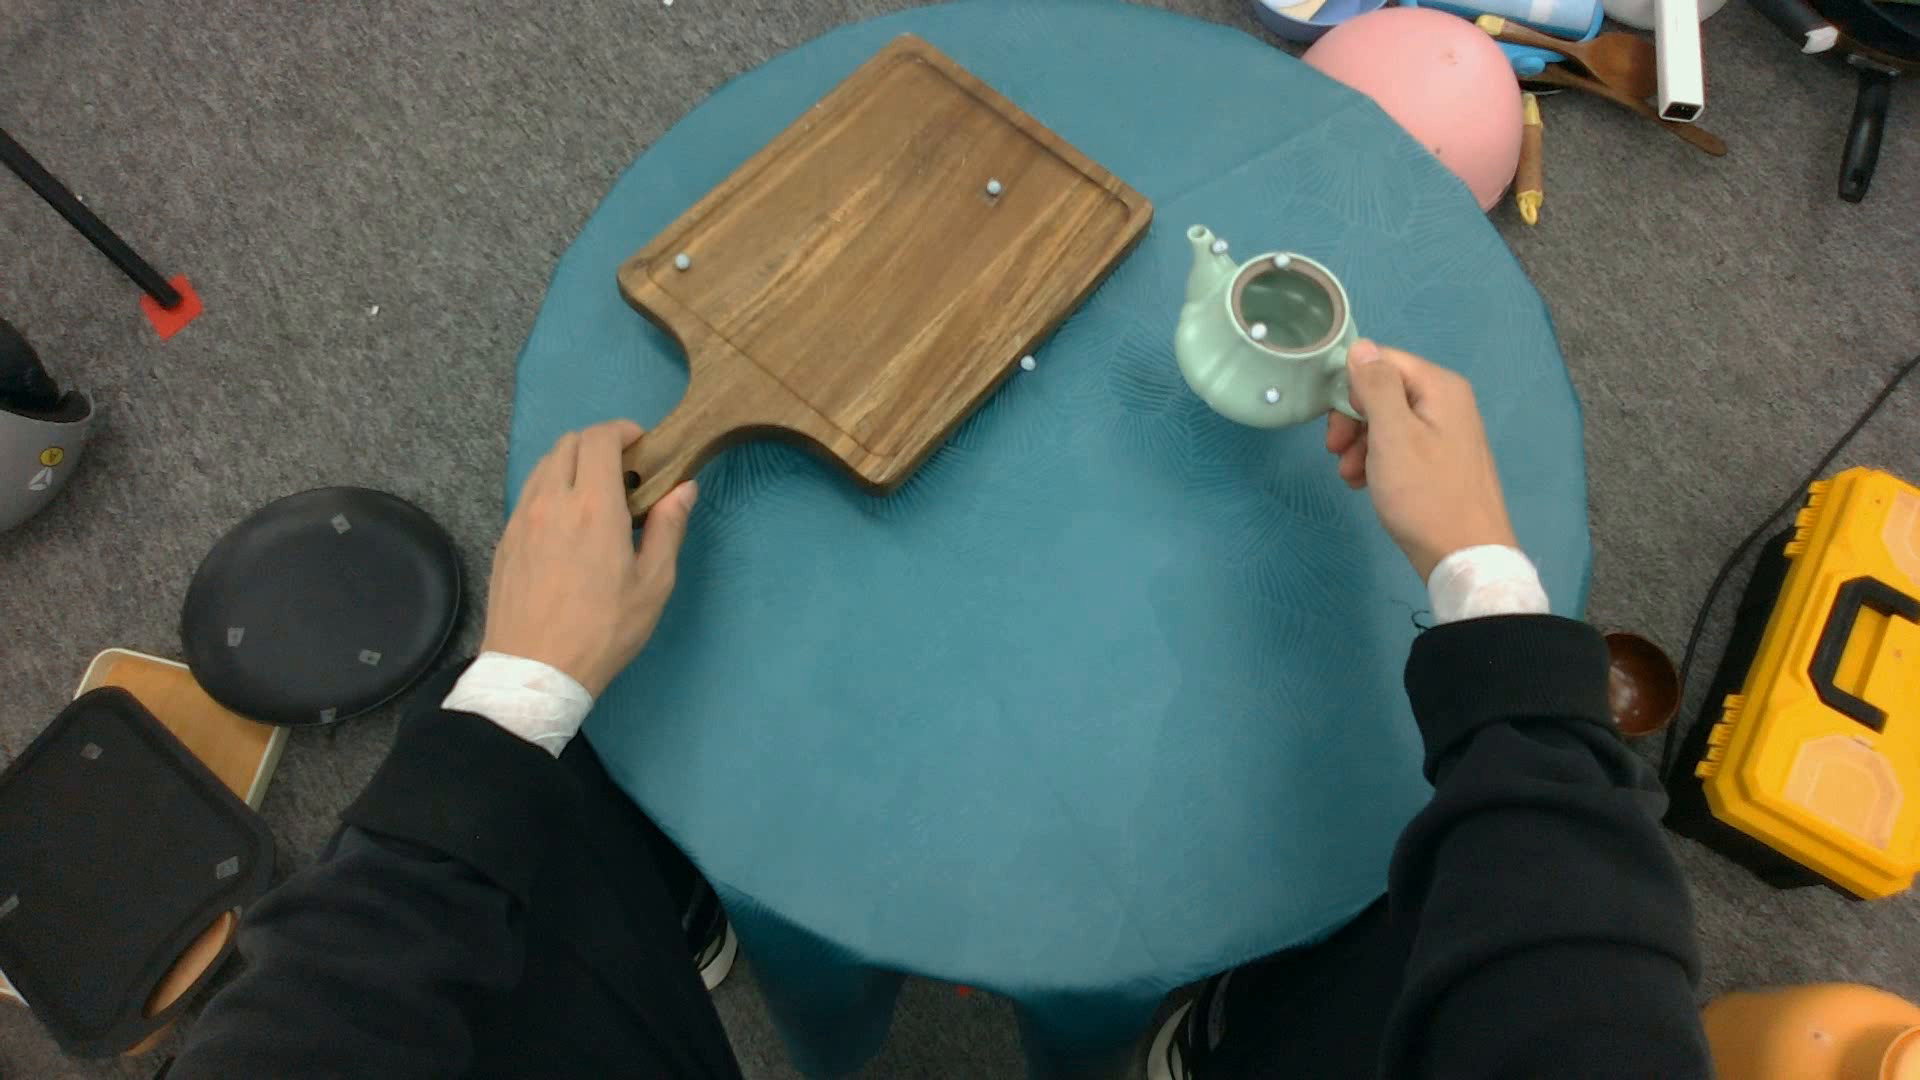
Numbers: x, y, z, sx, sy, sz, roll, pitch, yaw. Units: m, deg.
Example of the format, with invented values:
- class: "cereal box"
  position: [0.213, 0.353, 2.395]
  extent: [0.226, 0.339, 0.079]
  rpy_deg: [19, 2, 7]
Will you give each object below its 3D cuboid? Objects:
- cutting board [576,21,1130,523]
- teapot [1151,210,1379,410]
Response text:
- class: "cutting board"
  position: [-0.080, -0.139, 0.758]
  extent: [0.201, 0.023, 0.353]
  rpy_deg: [37, 66, 11]
- class: "teapot"
  position: [0.152, -0.114, 0.707]
  extent: [0.137, 0.061, 0.096]
  rpy_deg: [39, 67, 13]
